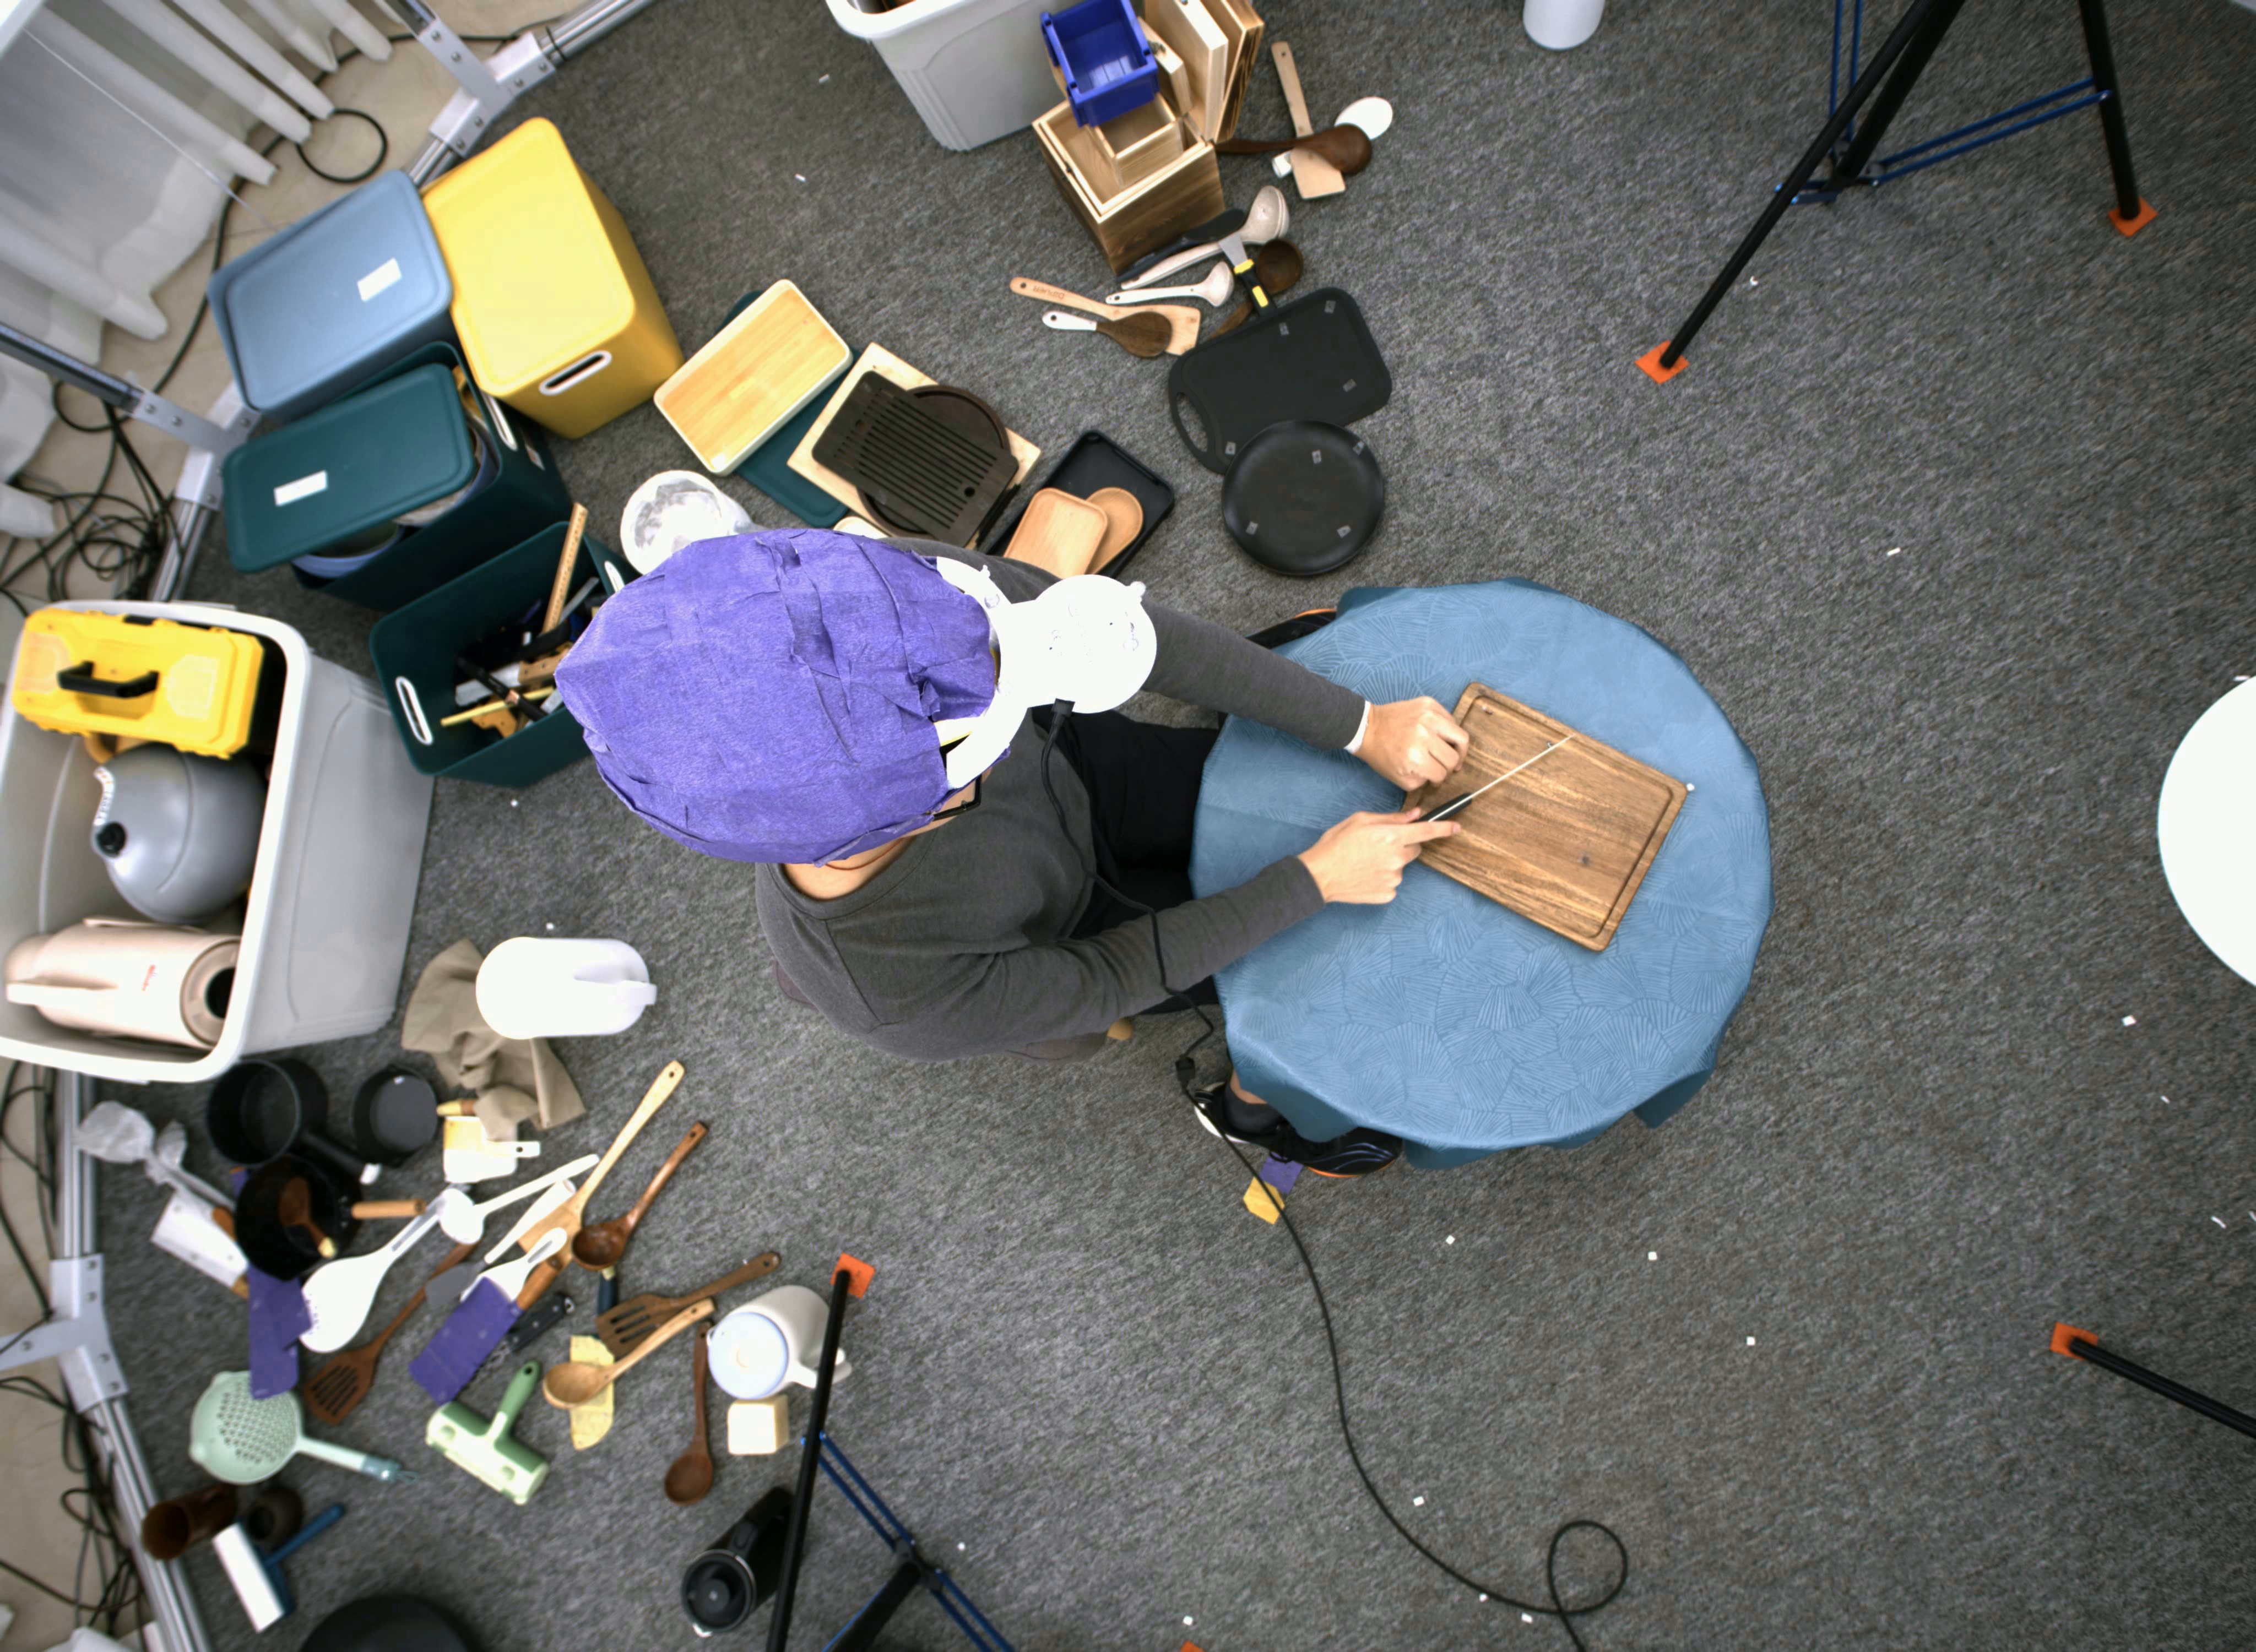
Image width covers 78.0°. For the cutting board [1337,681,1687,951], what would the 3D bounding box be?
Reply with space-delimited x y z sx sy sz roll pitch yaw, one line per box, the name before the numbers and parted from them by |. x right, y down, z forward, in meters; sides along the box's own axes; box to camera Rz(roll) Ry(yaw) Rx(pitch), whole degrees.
cutting board | 0.379 -0.037 1.435 0.351 0.023 0.201 28 92 11

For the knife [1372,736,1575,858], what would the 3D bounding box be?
knife | 0.353 -0.034 1.399 0.239 0.024 0.016 -31 82 3
